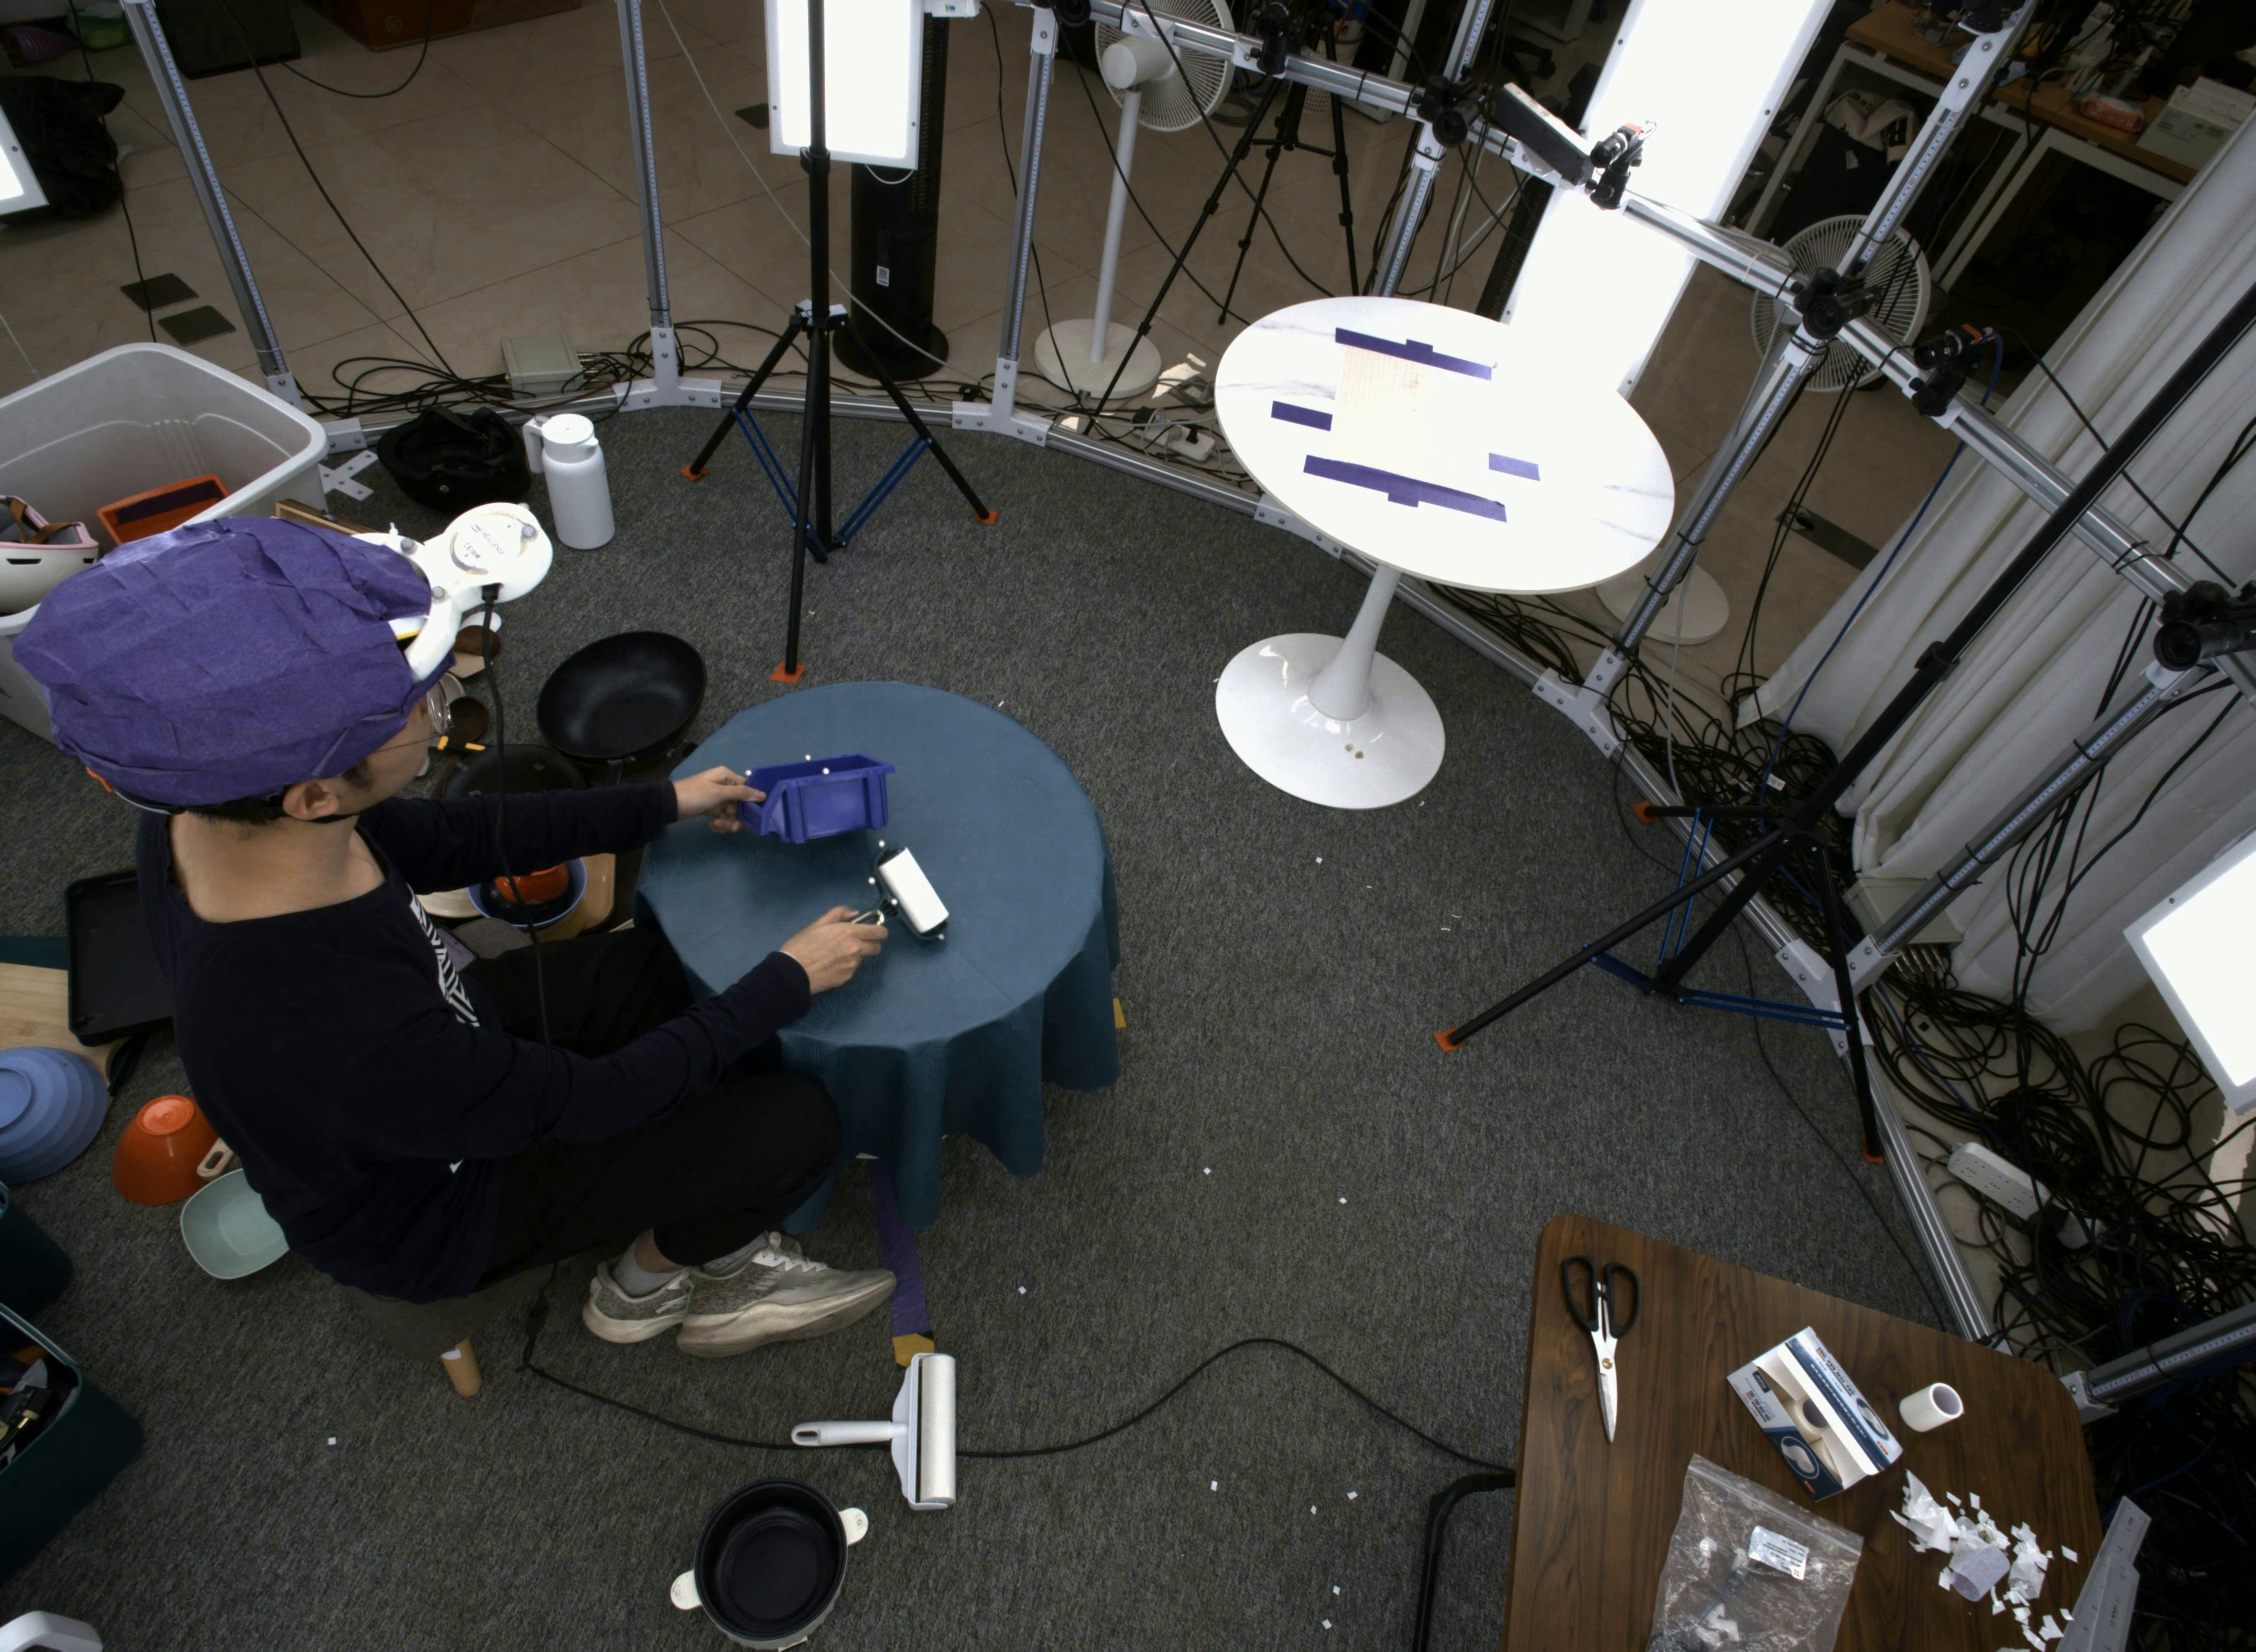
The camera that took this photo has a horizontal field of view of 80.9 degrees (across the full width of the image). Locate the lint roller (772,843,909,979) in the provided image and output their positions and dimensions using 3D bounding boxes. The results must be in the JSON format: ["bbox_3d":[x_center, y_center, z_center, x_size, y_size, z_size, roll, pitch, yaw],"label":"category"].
[{"bbox_3d":[-0.363,0.122,1.592,0.137,0.047,0.180,56,49,-12],"label":"lint roller"}]

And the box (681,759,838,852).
[{"bbox_3d":[-0.468,-0.027,1.639,0.181,0.084,0.120,-10,17,-31],"label":"box"}]
